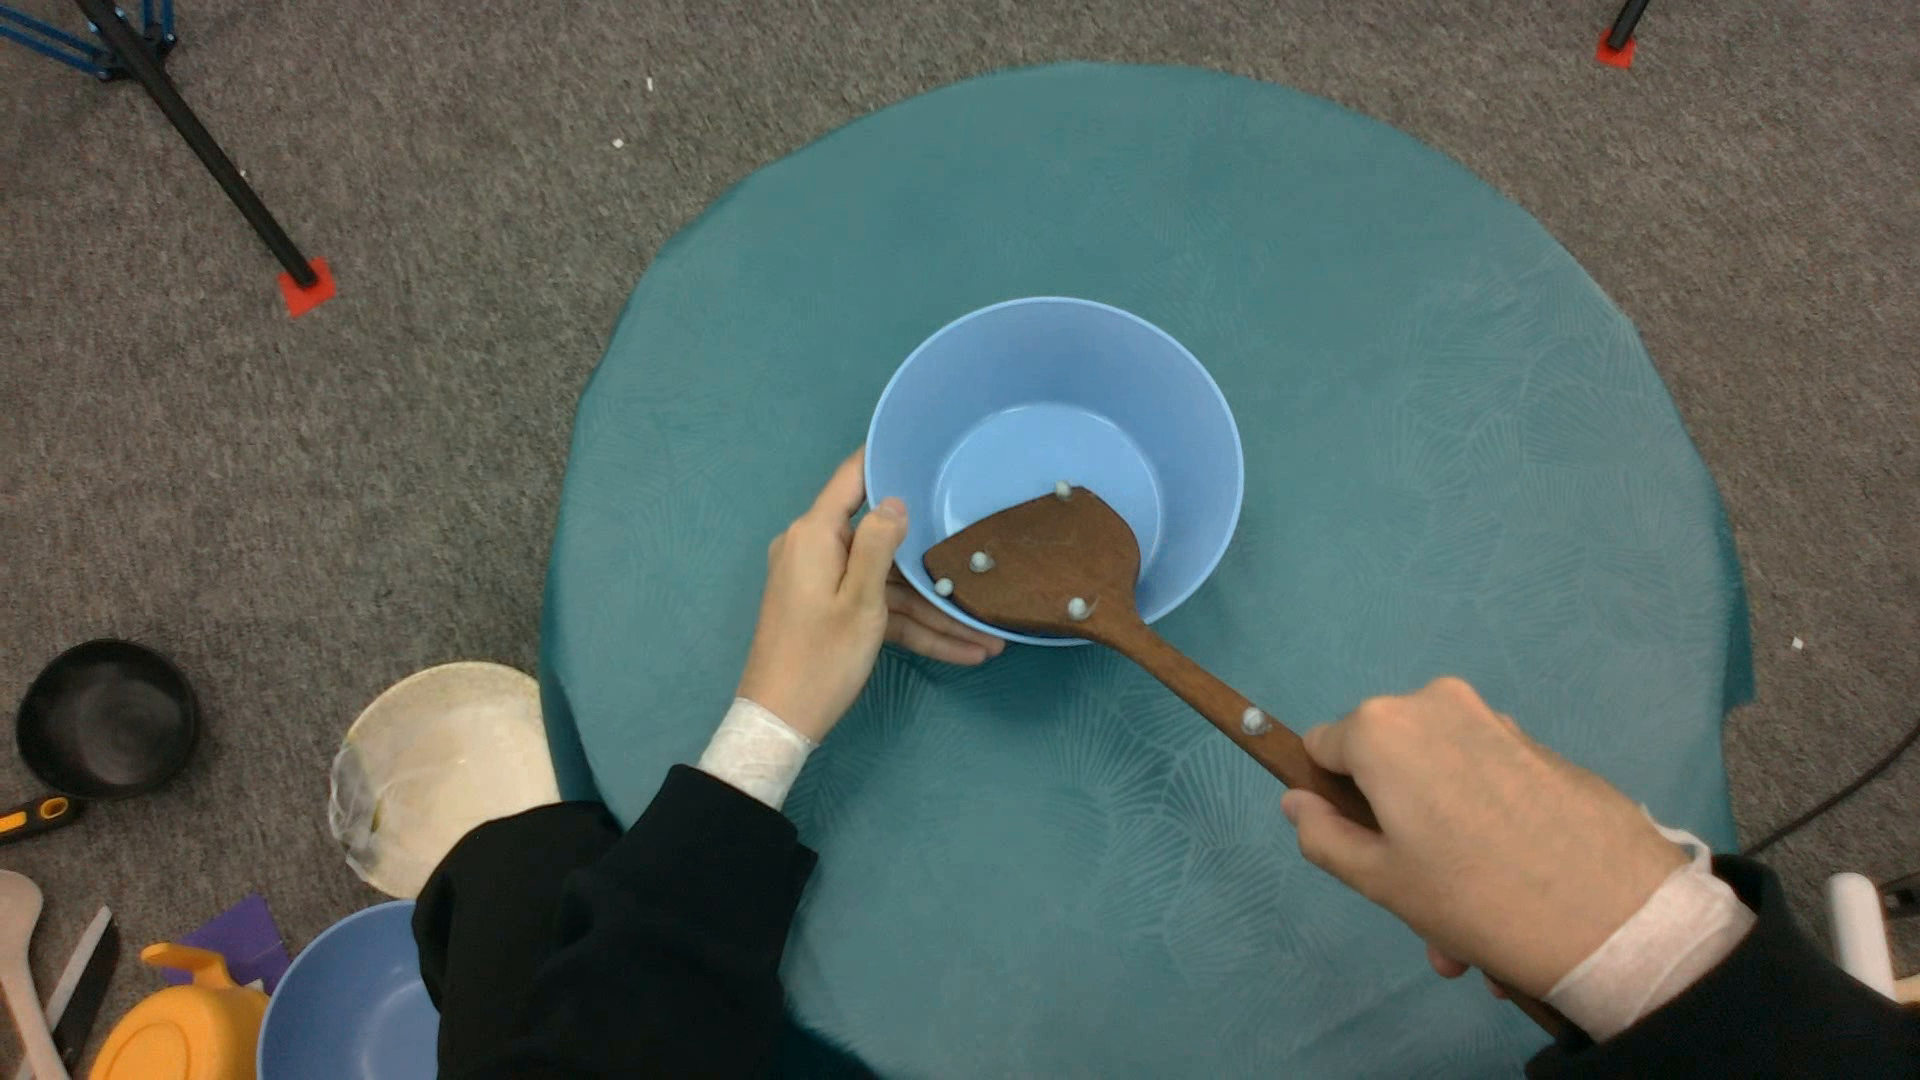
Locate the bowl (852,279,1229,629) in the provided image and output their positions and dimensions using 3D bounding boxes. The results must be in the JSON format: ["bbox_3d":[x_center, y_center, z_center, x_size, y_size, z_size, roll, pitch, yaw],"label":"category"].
[{"bbox_3d":[0.038,-0.033,0.667,0.176,0.070,0.176,0,70,1],"label":"bowl"}]

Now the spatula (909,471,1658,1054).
[{"bbox_3d":[0.096,0.058,0.523,0.096,0.016,0.386,-24,32,-18],"label":"spatula"}]
